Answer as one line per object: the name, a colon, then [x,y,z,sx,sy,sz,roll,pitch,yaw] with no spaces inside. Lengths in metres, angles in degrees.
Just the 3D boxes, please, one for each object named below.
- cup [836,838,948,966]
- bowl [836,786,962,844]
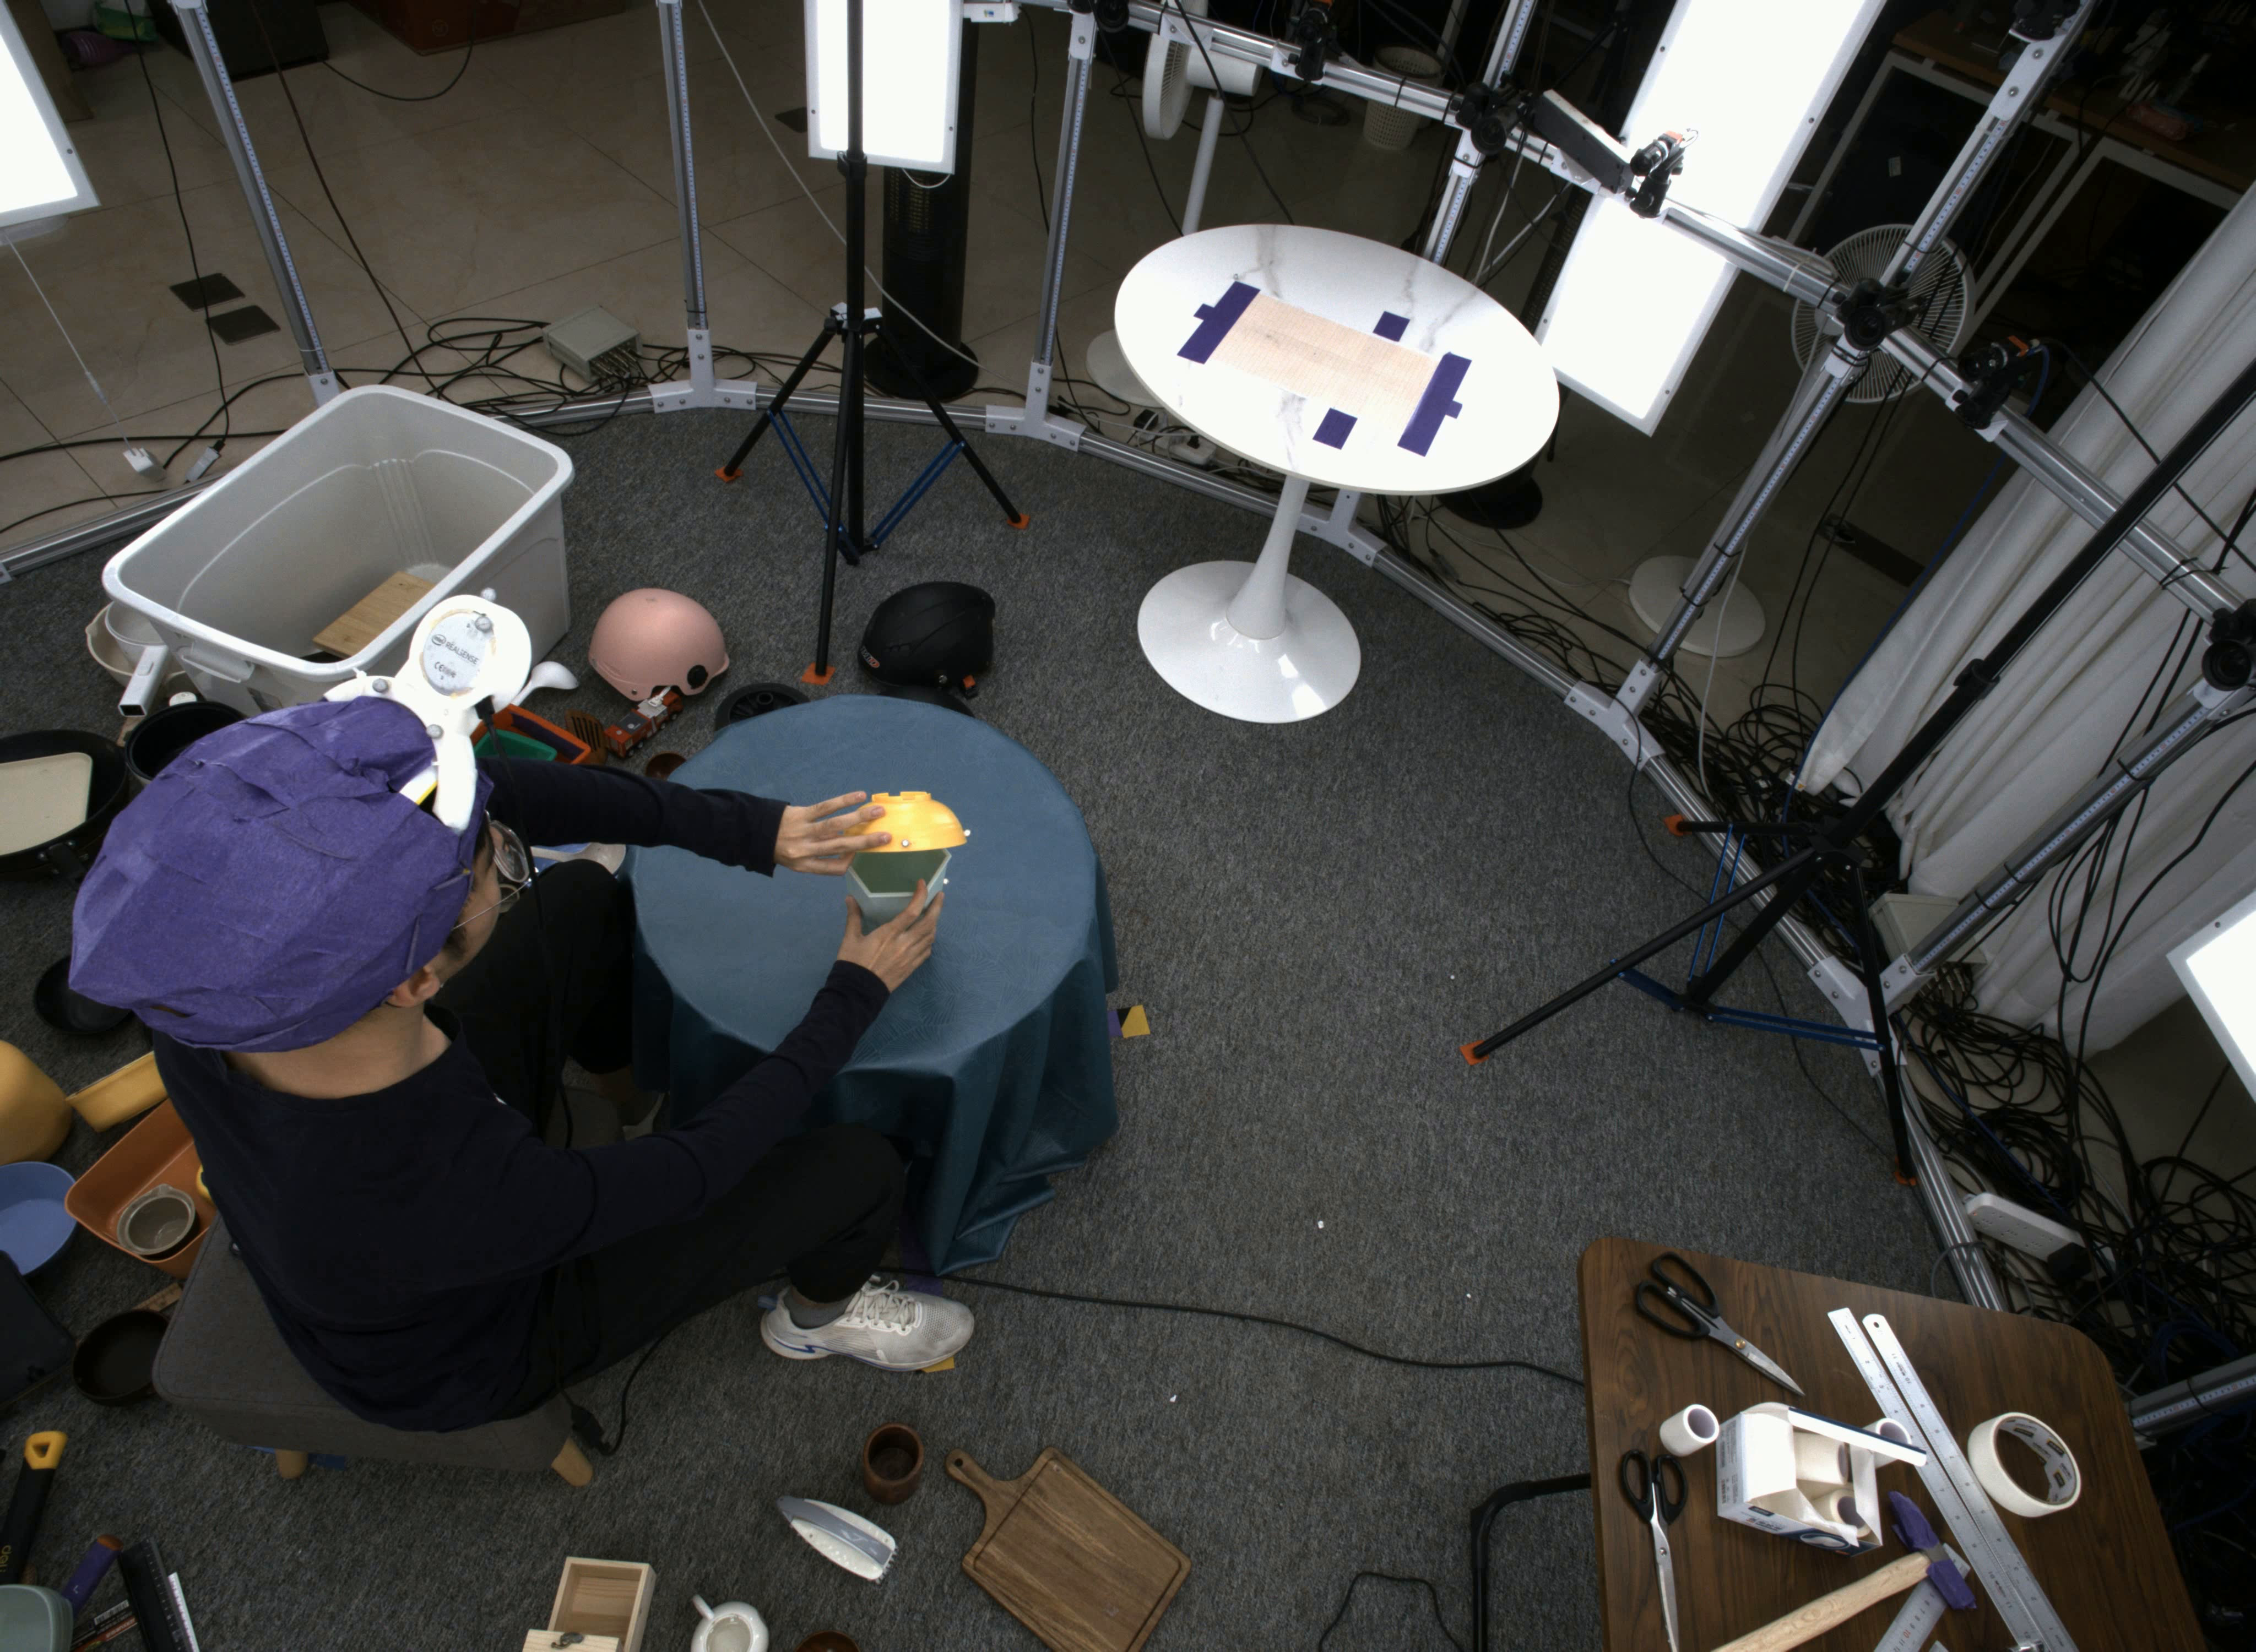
cup: [-0.287,0.080,1.594,0.115,0.167,0.128,-31,63,-29]
bowl: [-0.263,-0.015,1.484,0.145,0.143,0.061,-2,94,-14]
